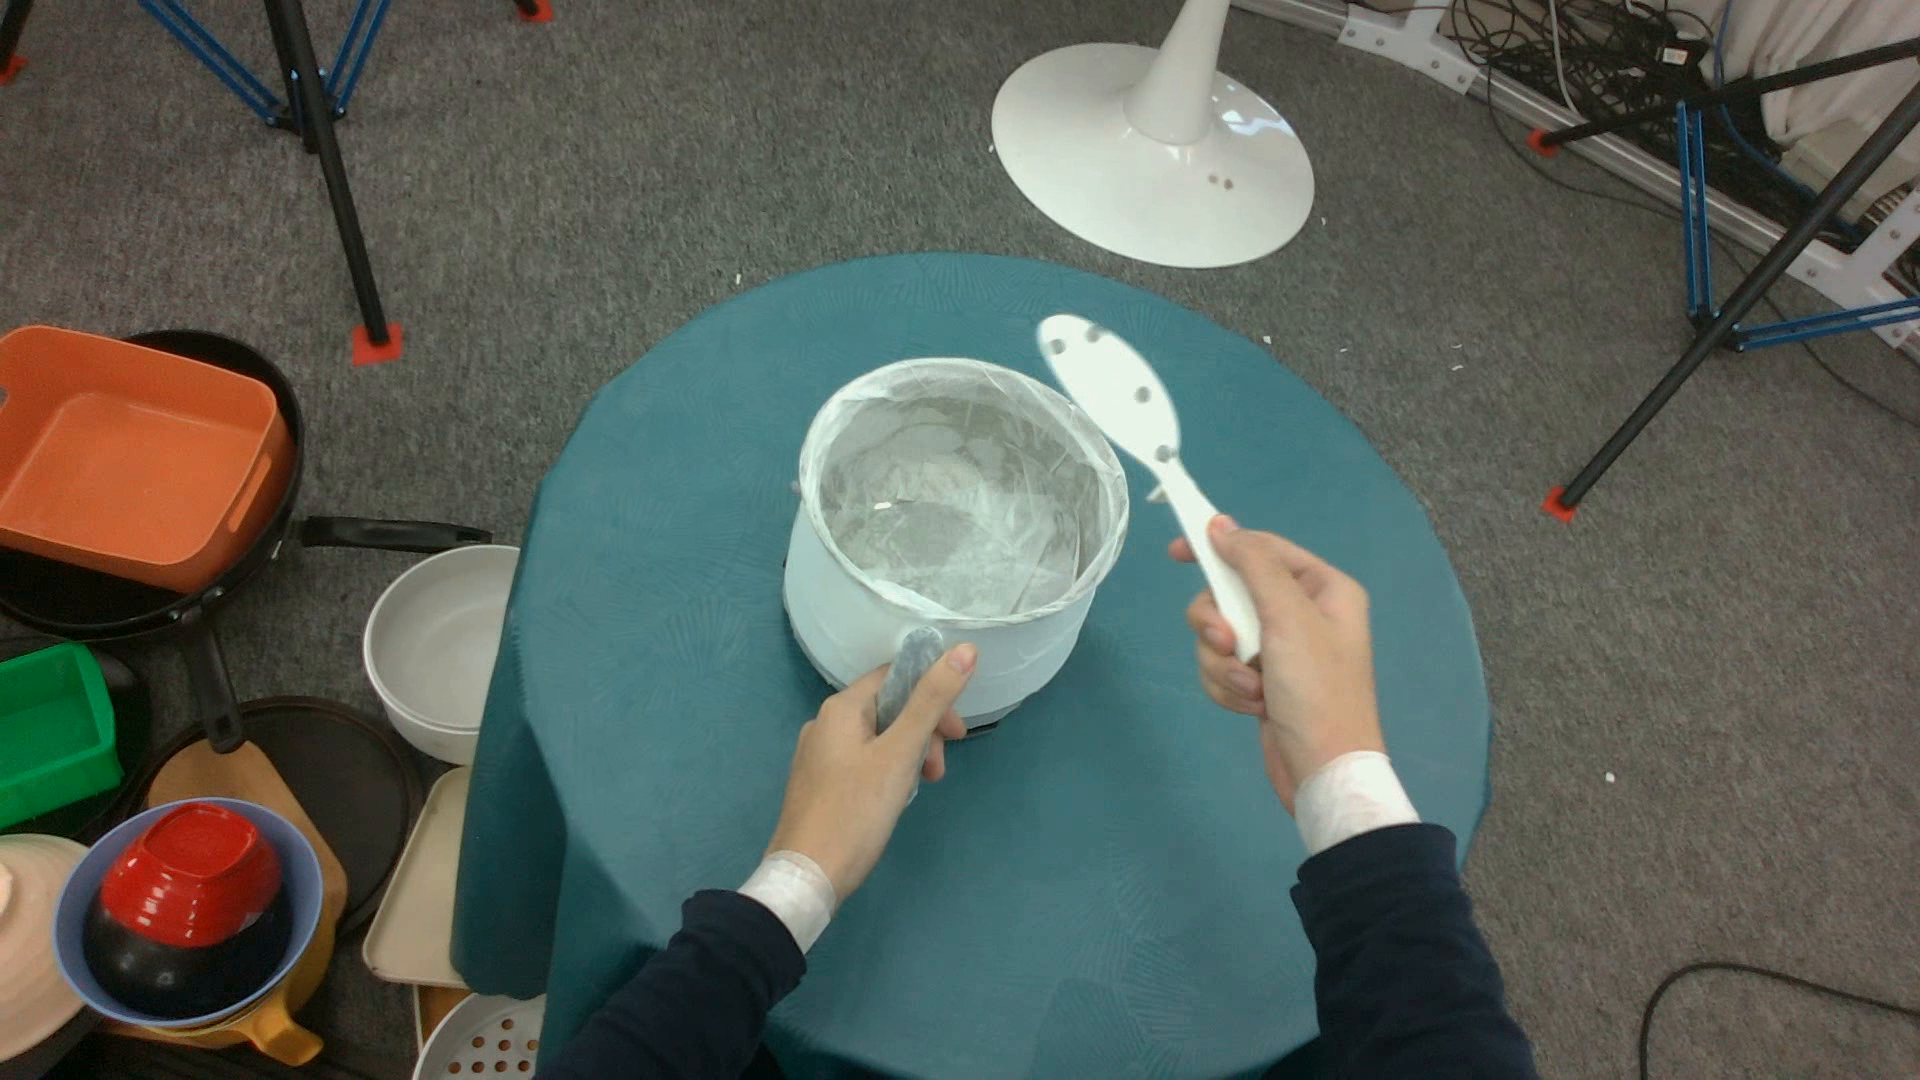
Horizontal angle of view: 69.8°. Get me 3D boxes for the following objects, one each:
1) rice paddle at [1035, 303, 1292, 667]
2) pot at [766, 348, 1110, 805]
[{"bbox_3d":[0.091,-0.036,0.642,0.069,0.029,0.205,-1,56,-42],"label":"rice paddle"},{"bbox_3d":[-0.023,0.023,0.758,0.179,0.136,0.235,14,54,-2],"label":"pot"}]
